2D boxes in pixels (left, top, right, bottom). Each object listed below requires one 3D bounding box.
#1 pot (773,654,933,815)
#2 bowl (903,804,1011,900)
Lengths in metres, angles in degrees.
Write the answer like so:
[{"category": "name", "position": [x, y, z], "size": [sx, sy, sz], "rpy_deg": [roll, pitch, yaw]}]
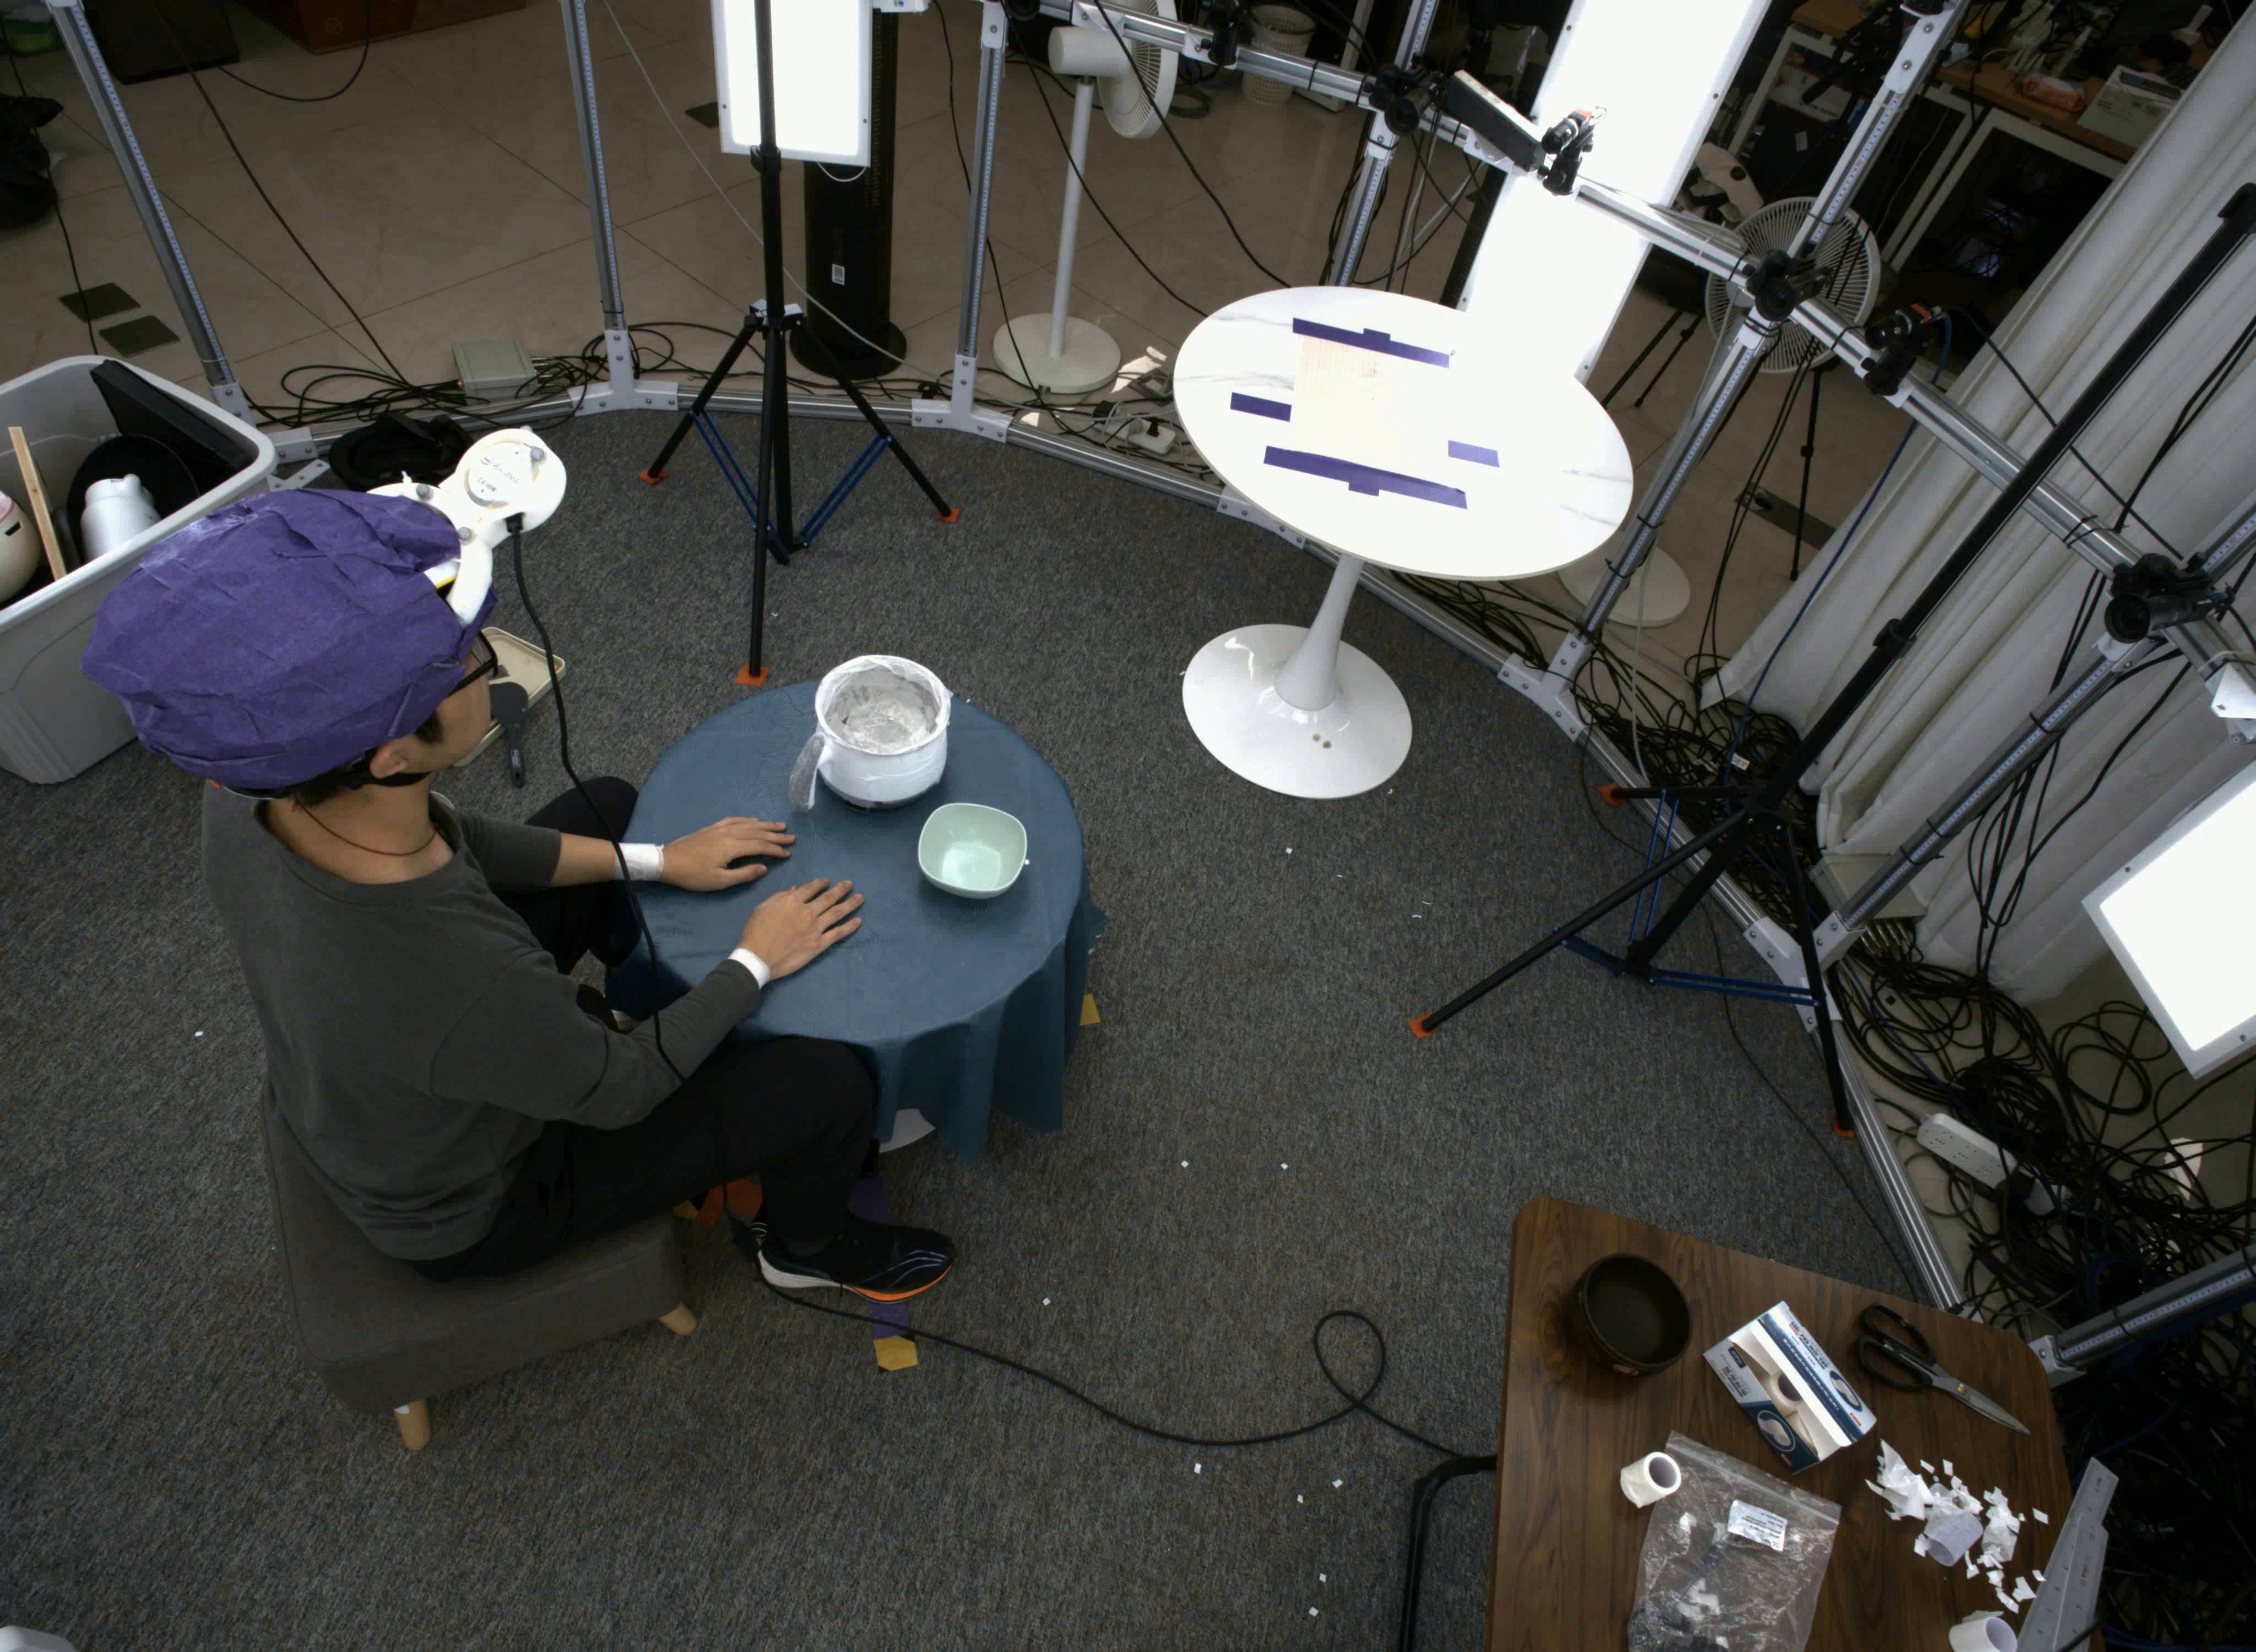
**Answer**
[{"category": "pot", "position": [-0.374, -0.108, 1.742], "size": [0.175, 0.139, 0.234], "rpy_deg": [42, 56, 18]}, {"category": "bowl", "position": [-0.226, 0.043, 1.717], "size": [0.151, 0.060, 0.148], "rpy_deg": [8, 51, -9]}]
